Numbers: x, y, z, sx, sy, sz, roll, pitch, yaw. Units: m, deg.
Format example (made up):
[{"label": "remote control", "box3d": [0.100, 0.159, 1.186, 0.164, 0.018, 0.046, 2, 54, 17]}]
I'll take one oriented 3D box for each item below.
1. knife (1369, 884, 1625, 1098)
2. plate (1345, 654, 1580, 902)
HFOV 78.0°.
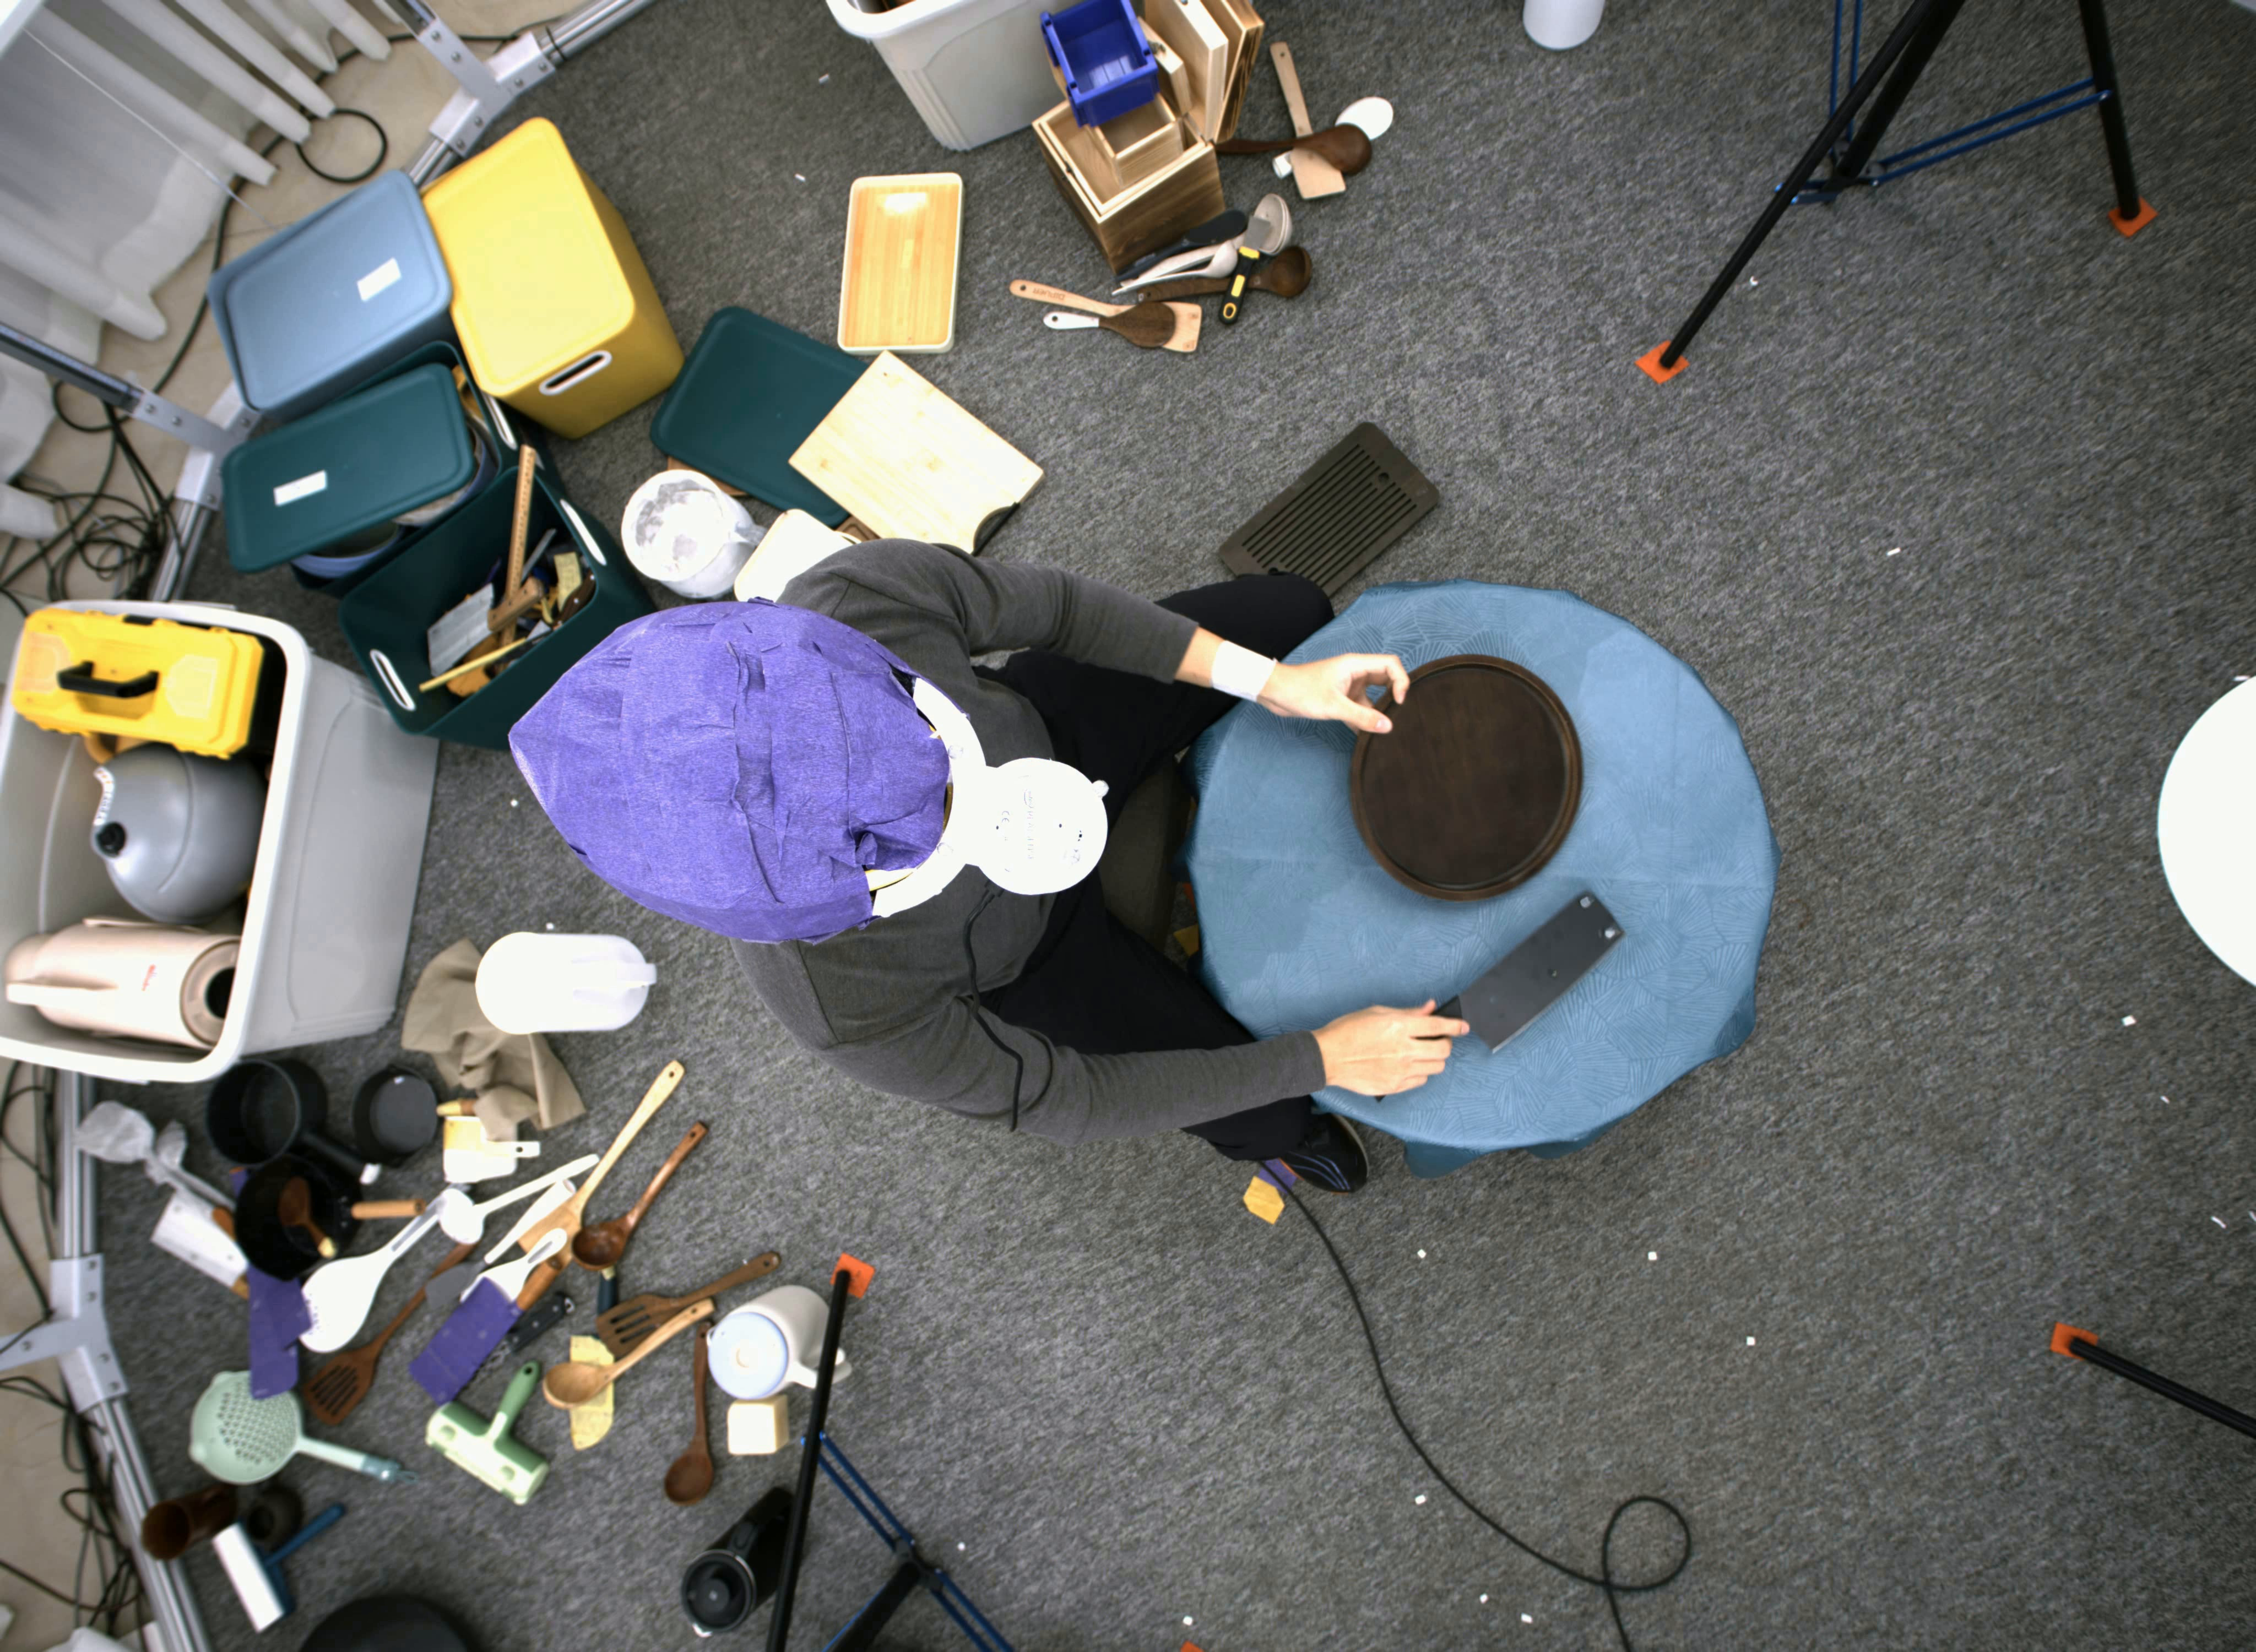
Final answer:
[{"label": "knife", "box3d": [0.367, 0.174, 1.392, 0.304, 0.021, 0.081, -38, 86, 10]}, {"label": "plate", "box3d": [0.340, -0.049, 1.397, 0.254, 0.029, 0.257, -2, 102, -10]}]
